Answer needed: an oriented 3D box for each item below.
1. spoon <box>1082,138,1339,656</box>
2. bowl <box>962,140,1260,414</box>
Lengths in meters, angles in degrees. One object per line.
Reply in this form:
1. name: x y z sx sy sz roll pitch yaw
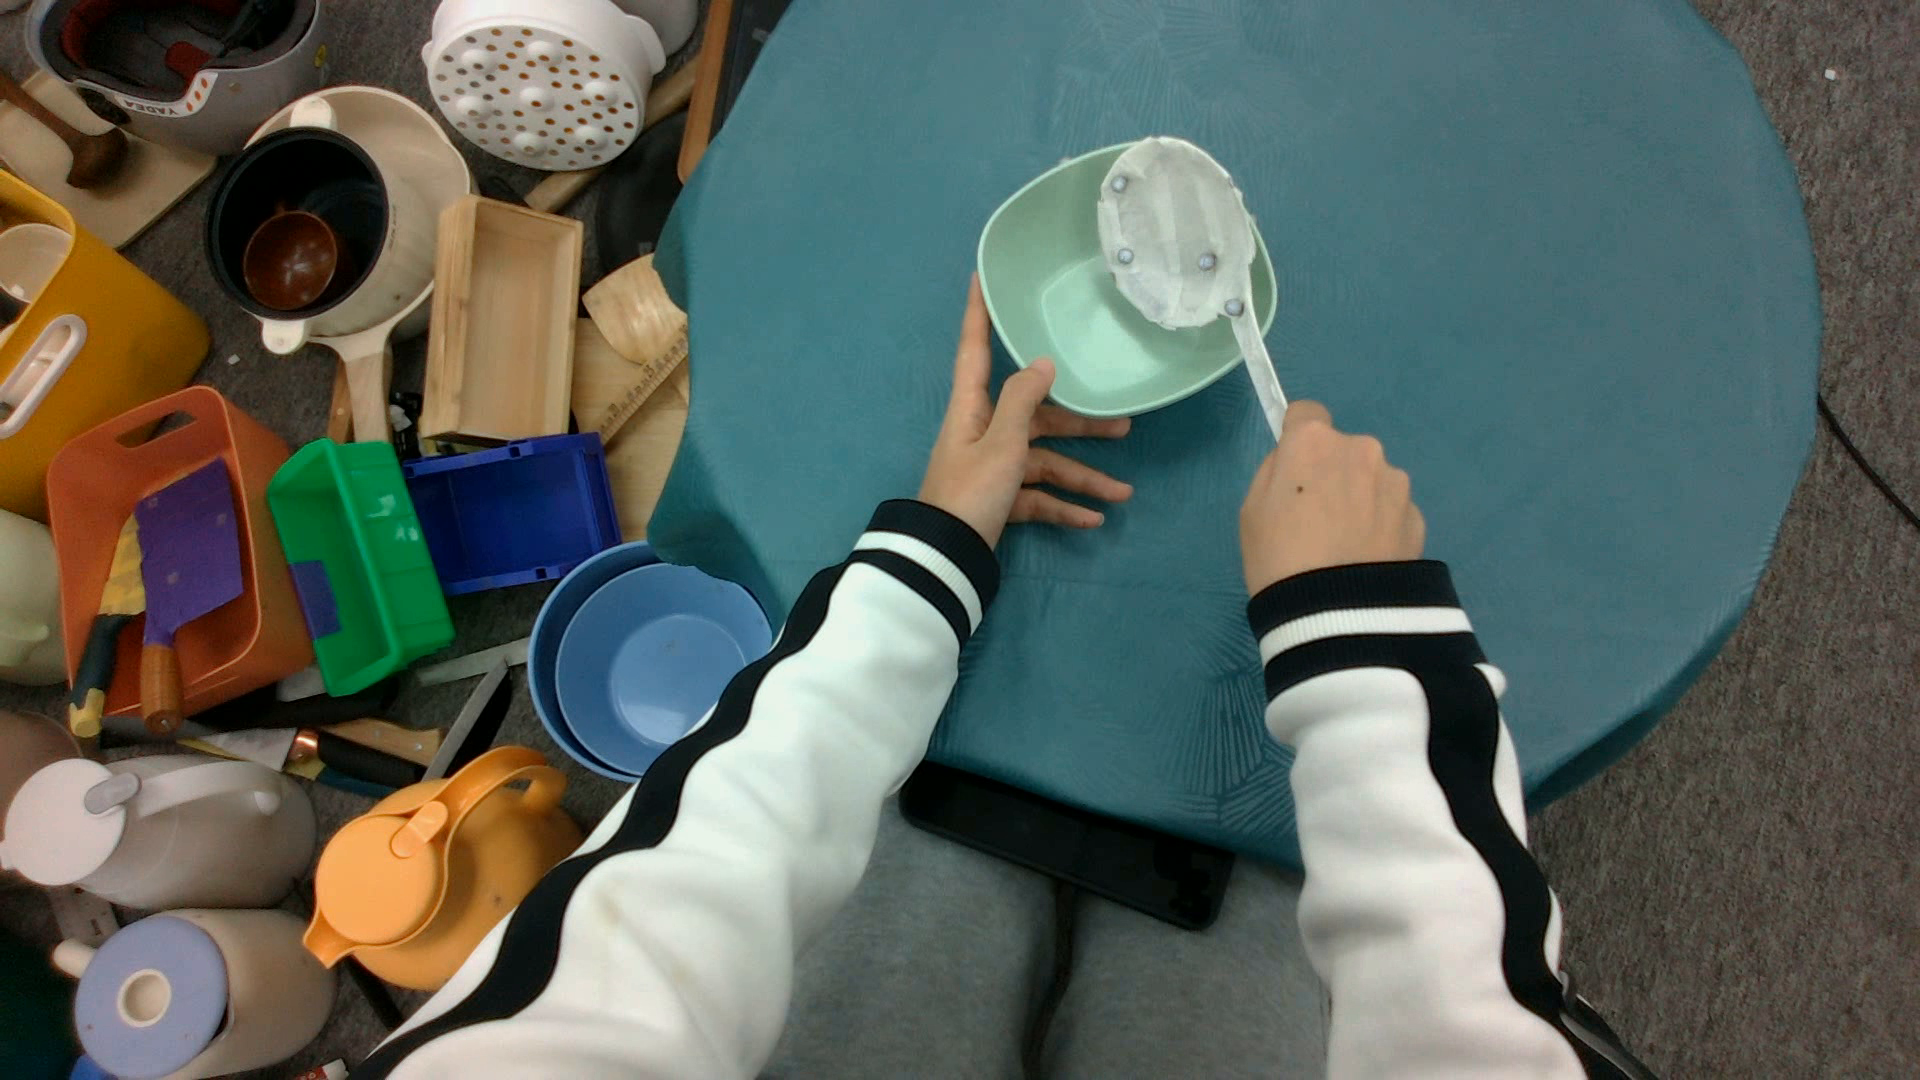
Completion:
1. spoon: 0.108 -0.068 0.634 0.059 0.100 0.278 2 56 -16
2. bowl: 0.076 -0.127 0.712 0.151 0.058 0.152 -1 75 3
